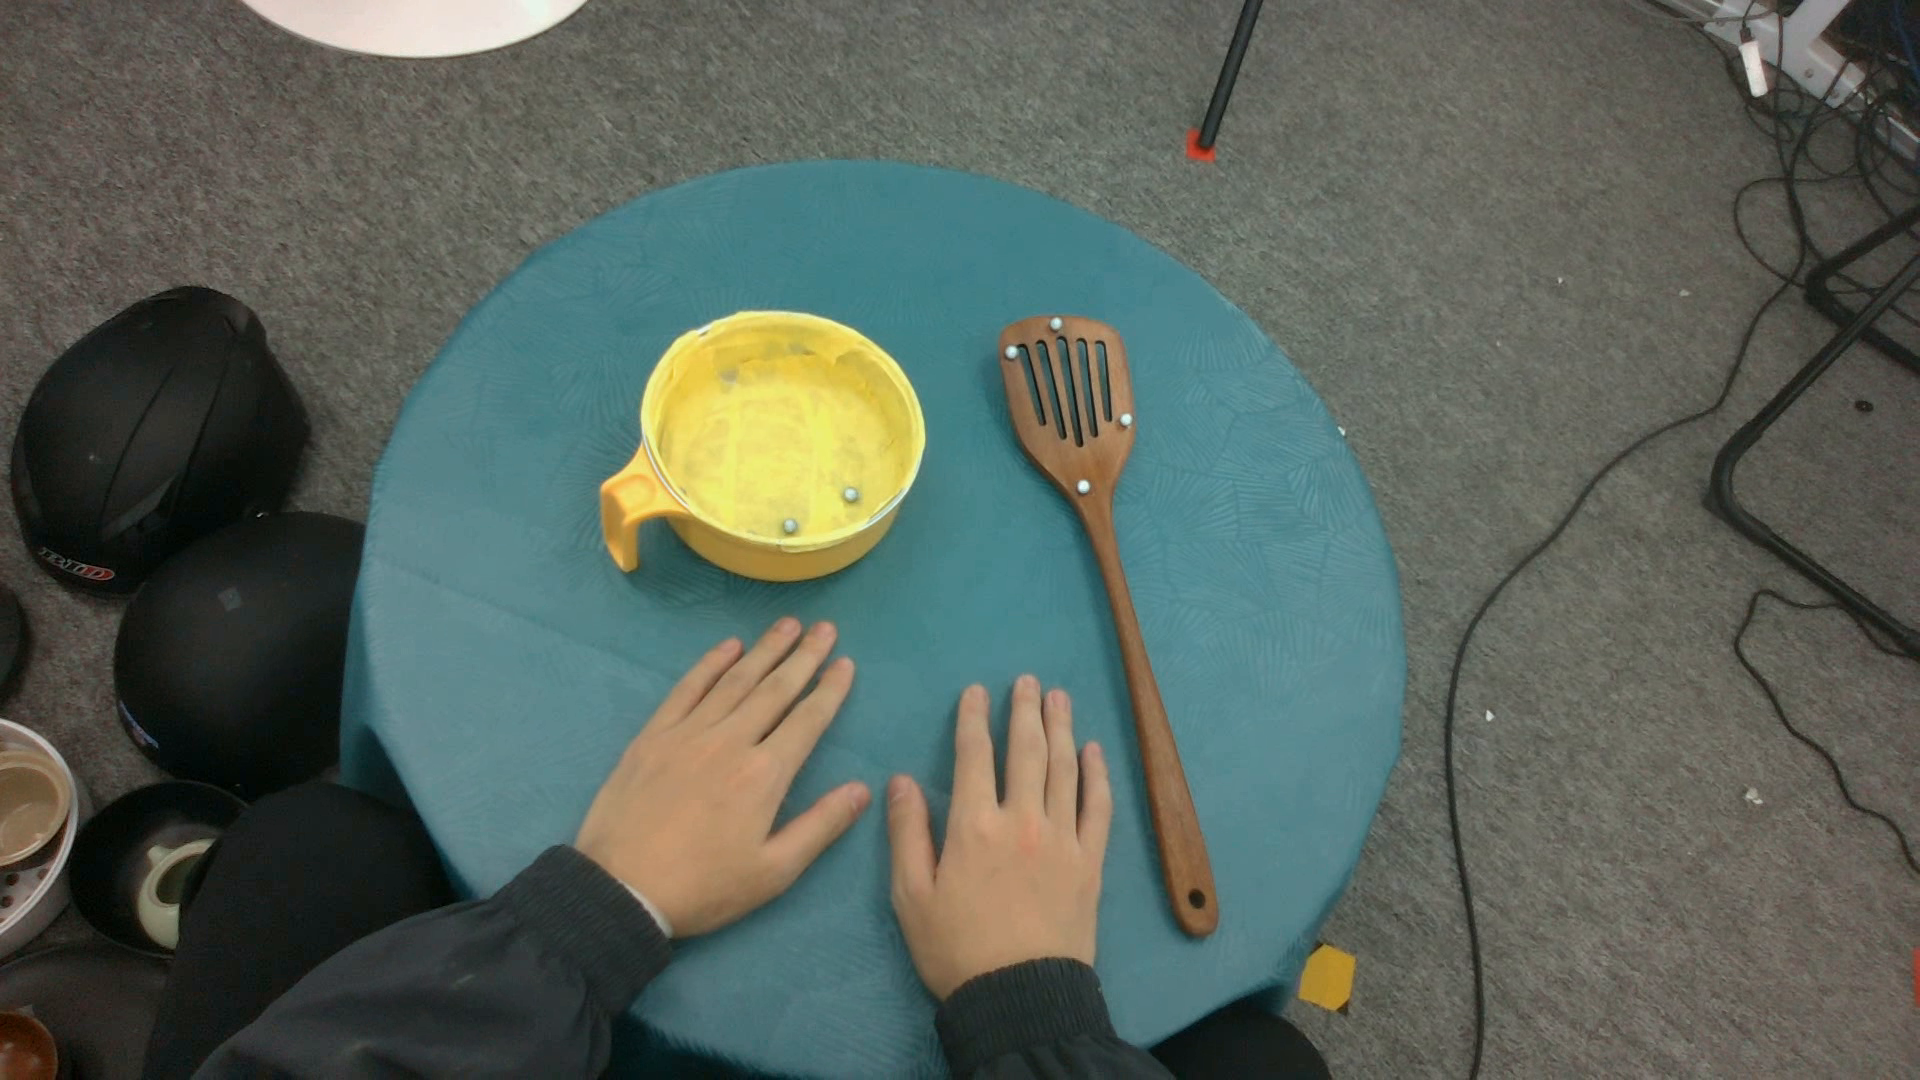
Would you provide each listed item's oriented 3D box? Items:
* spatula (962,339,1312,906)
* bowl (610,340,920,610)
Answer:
[{"bbox_3d":[0.107,0.035,0.812,0.085,0.024,0.387,-20,62,-11],"label":"spatula"},{"bbox_3d":[-0.113,-0.030,0.780,0.180,0.074,0.153,-36,70,-26],"label":"bowl"}]
